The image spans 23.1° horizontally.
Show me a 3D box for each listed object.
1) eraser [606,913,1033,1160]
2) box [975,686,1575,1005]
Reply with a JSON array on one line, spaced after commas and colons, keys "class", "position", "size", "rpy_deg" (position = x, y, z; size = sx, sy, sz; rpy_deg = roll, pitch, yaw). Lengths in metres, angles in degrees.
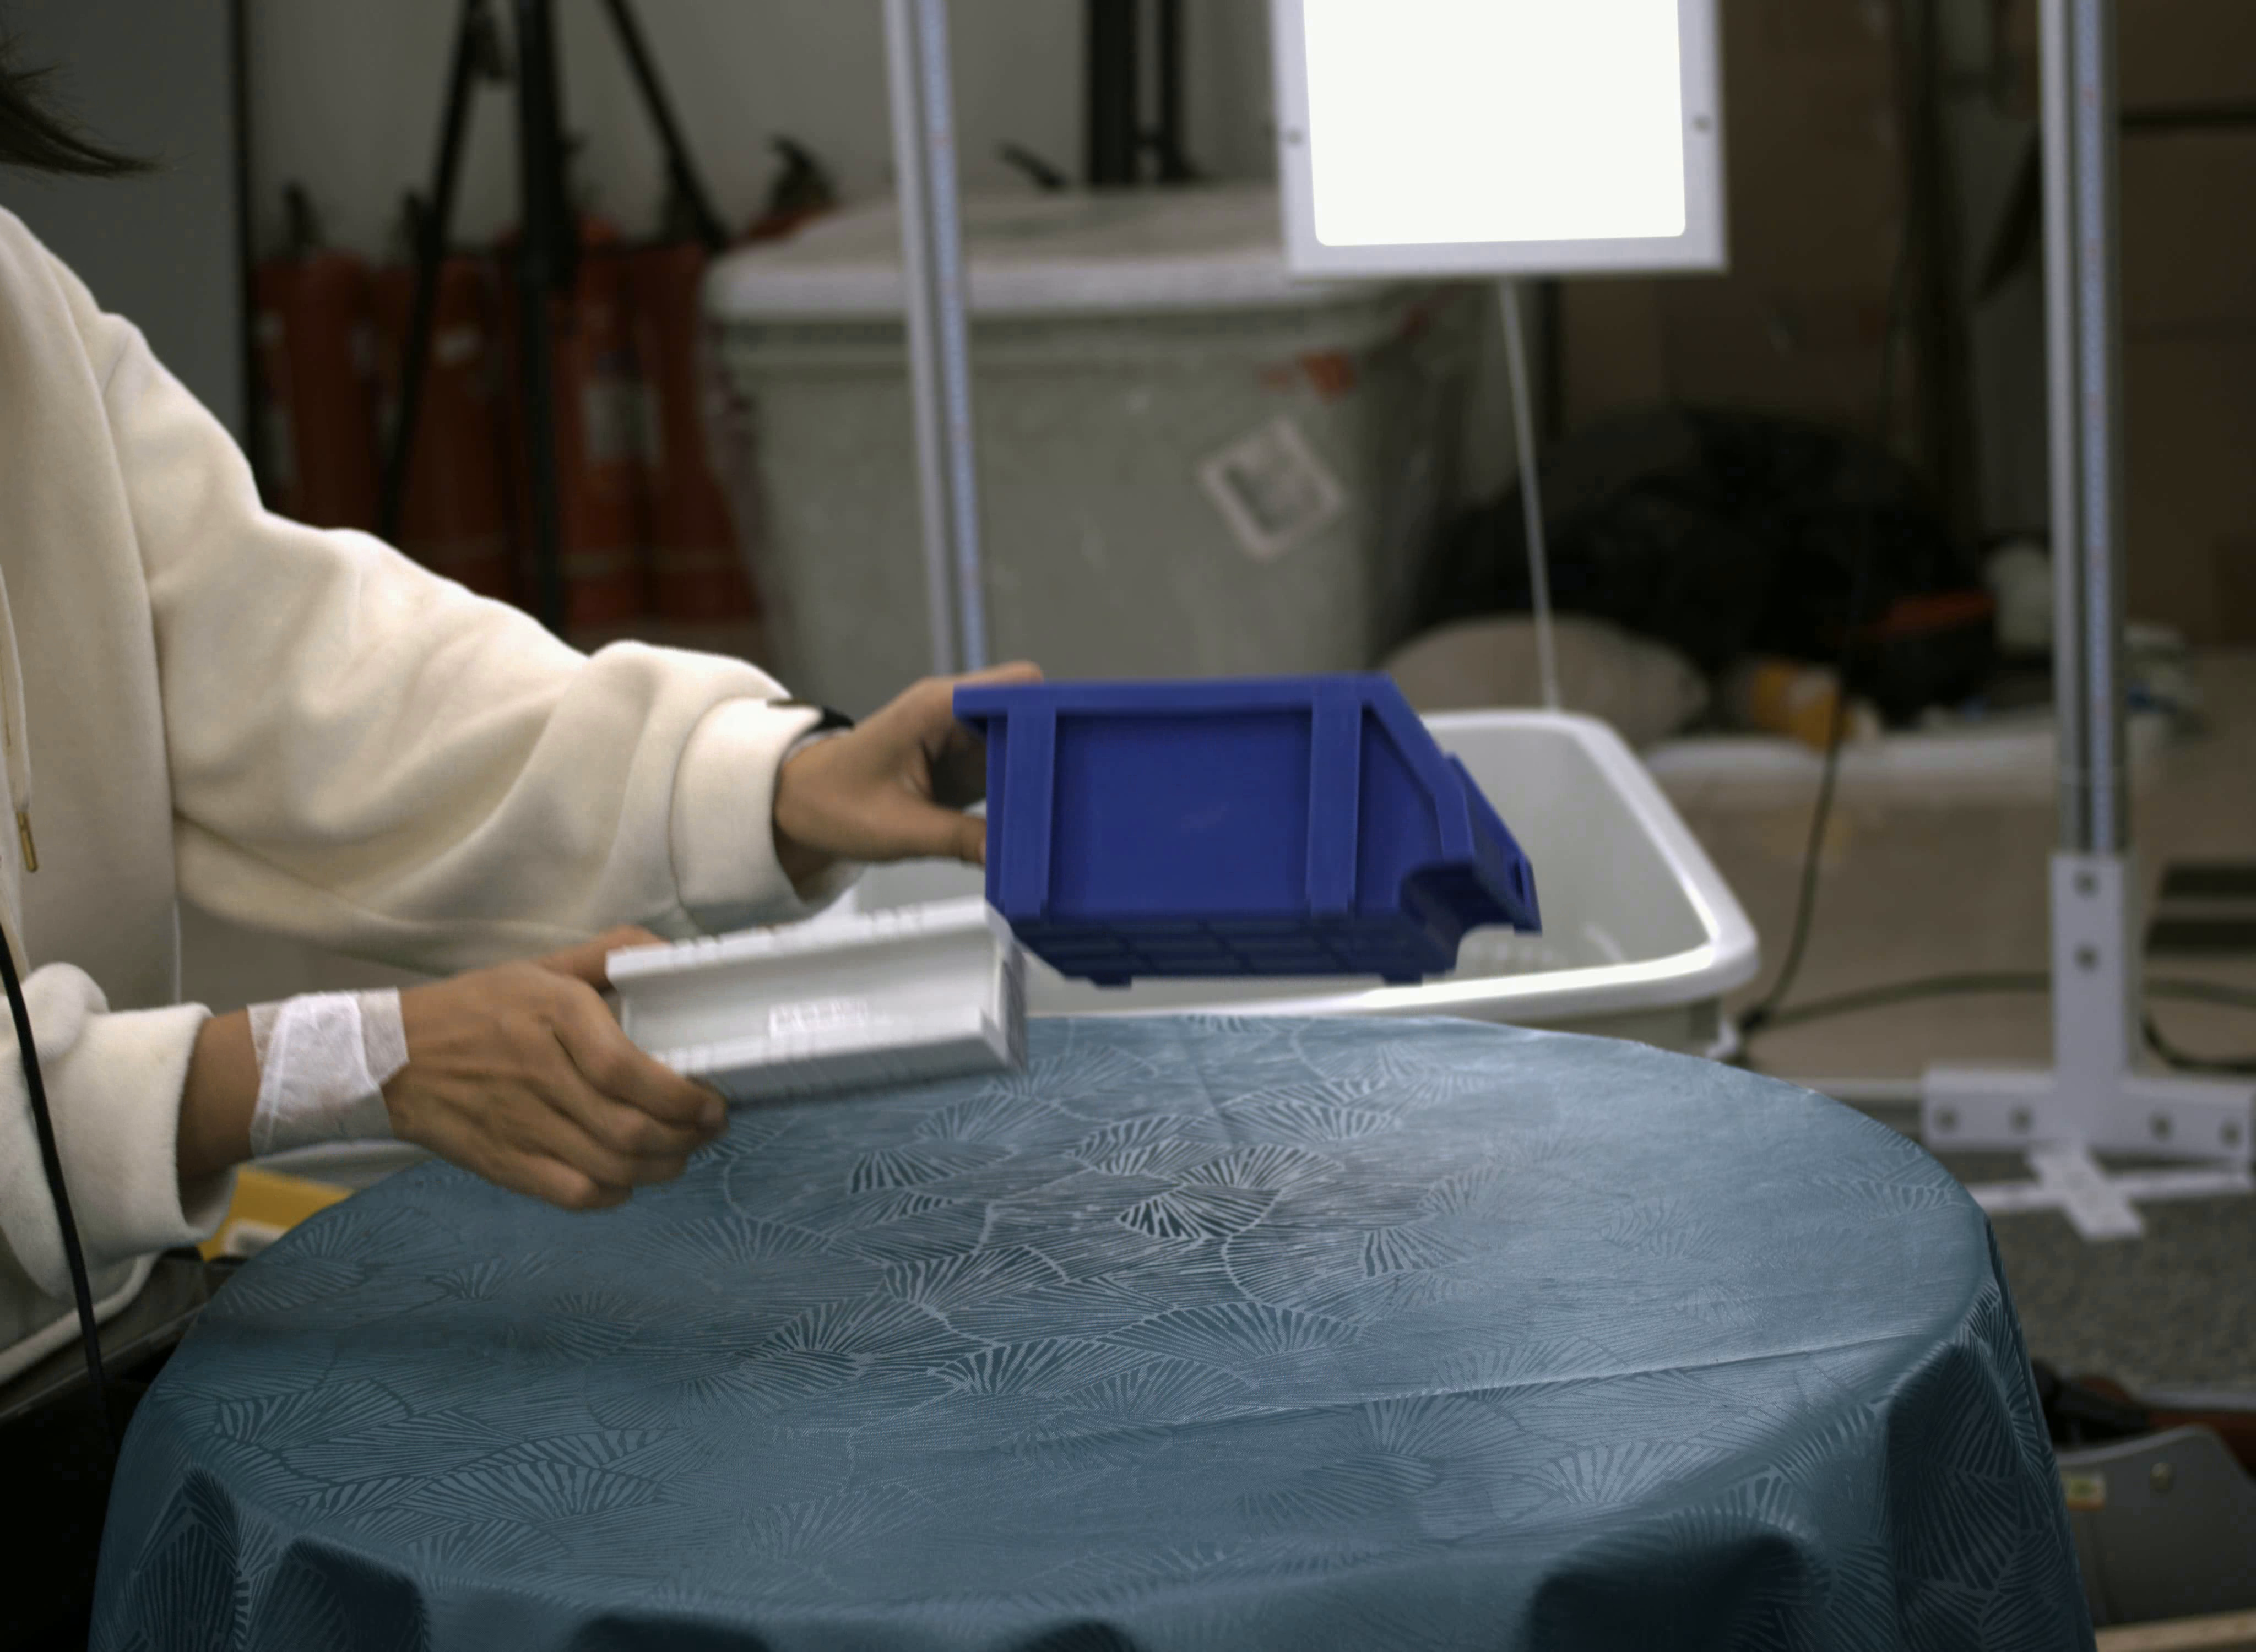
[{"class": "eraser", "position": [-0.099, 0.069, 1.781], "size": [0.136, 0.049, 0.046], "rpy_deg": [-10, -29, 19]}, {"class": "box", "position": [0.052, 0.008, 1.853], "size": [0.181, 0.082, 0.123], "rpy_deg": [-3, -13, 18]}]
